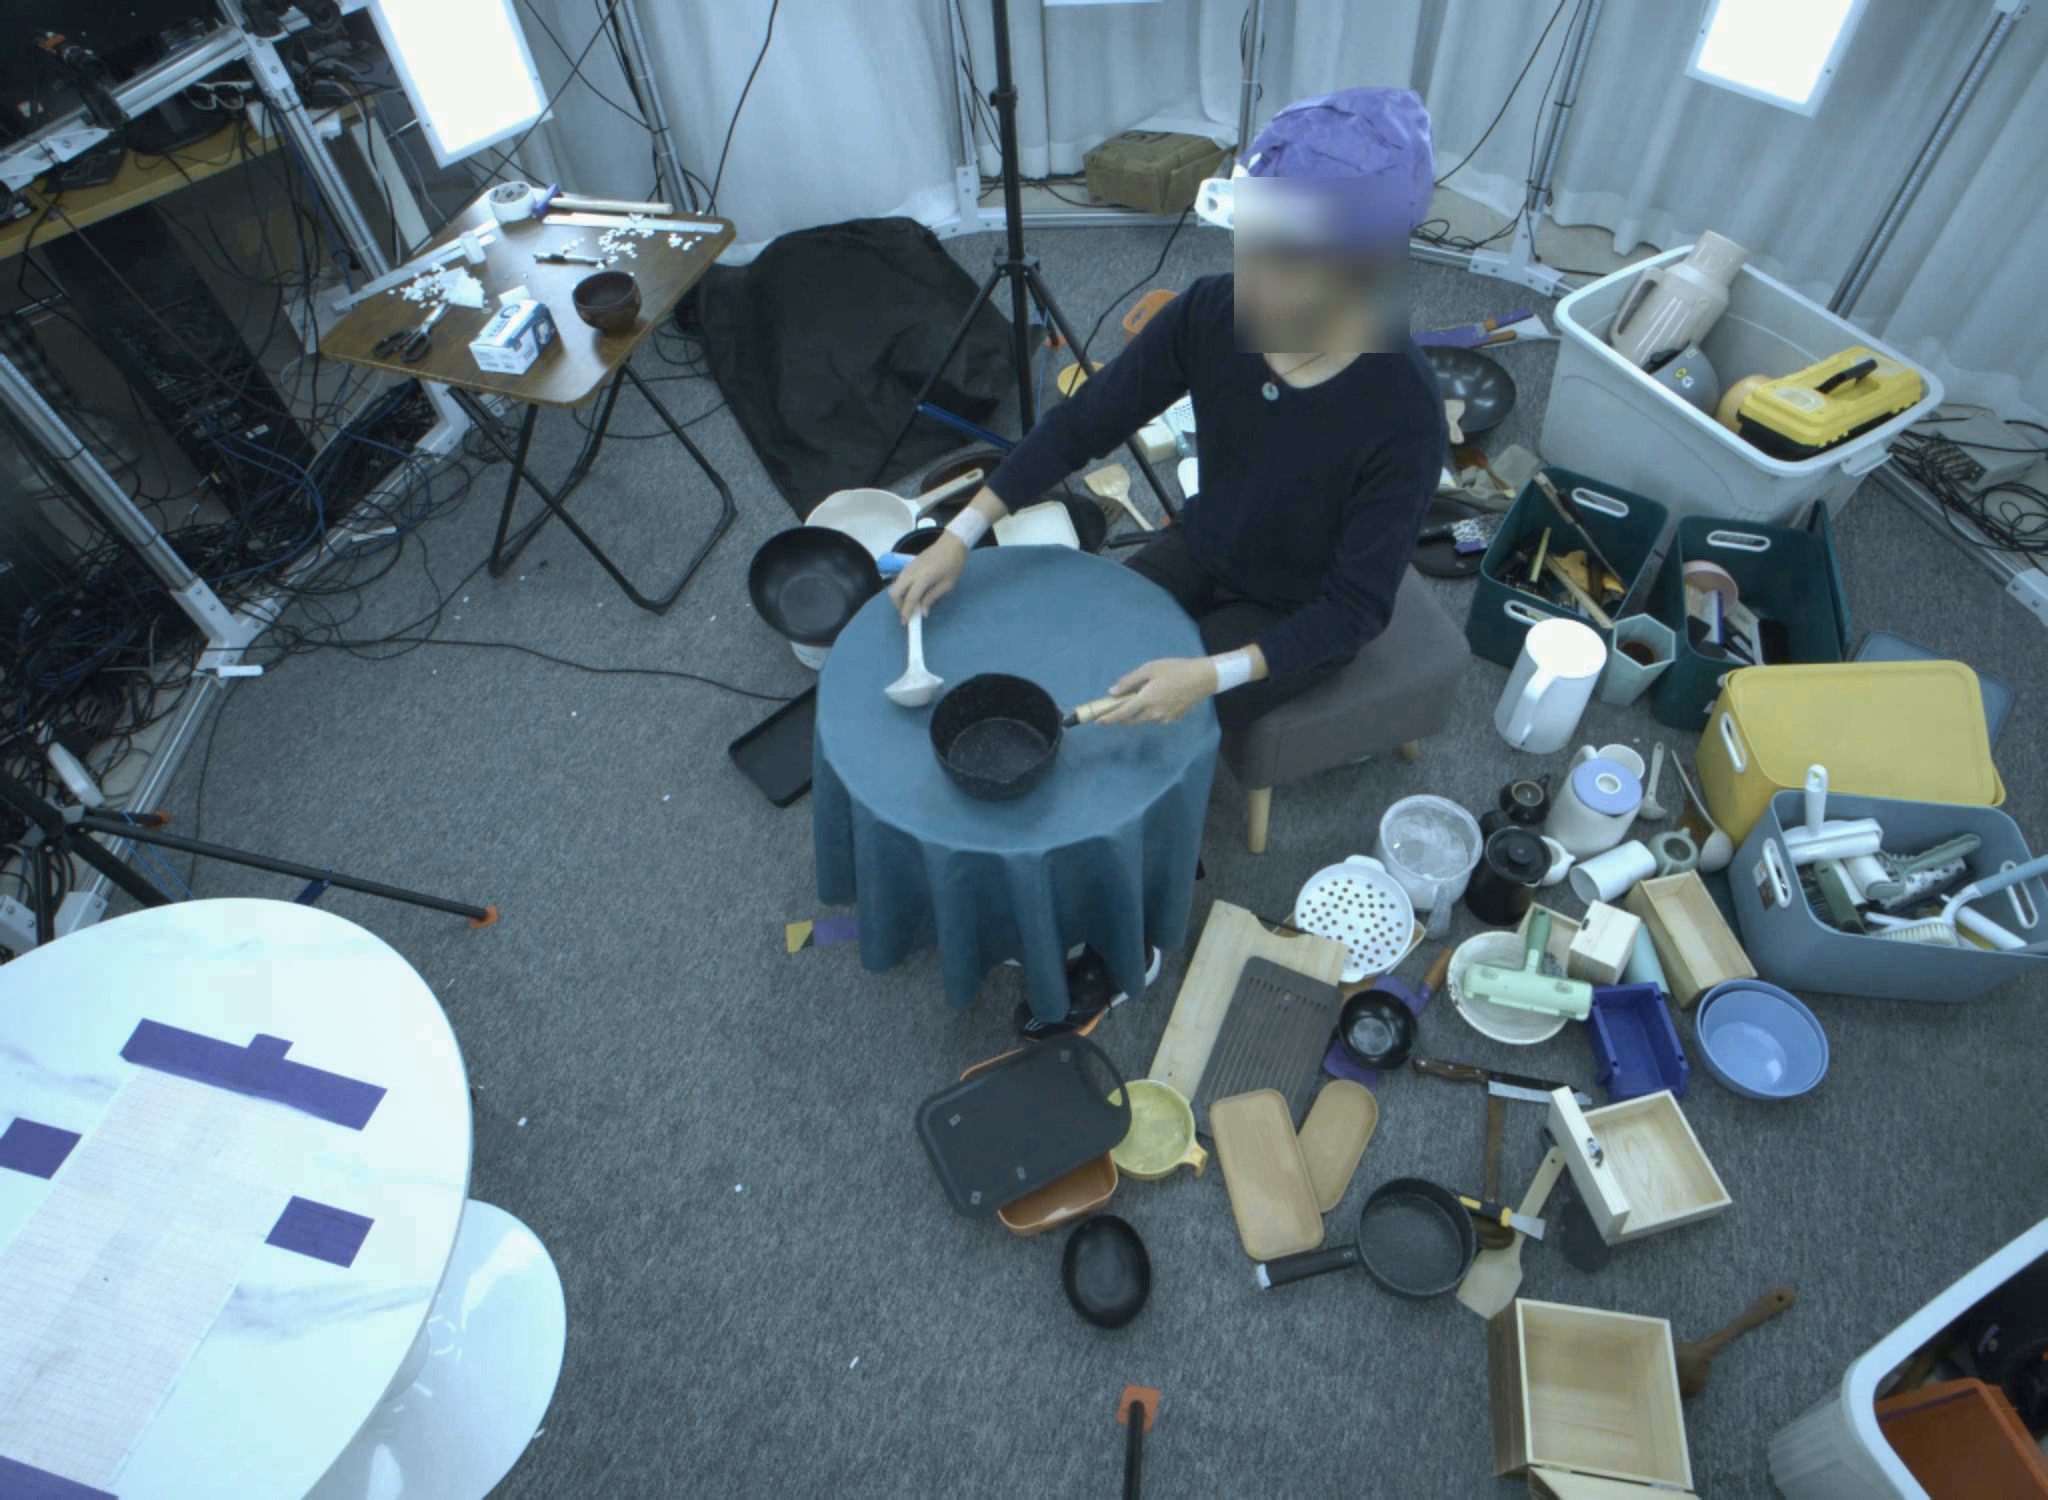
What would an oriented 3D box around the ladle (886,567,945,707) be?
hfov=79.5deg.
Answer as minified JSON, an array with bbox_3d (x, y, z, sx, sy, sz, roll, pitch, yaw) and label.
[{"bbox_3d":[-0.168,-0.188,1.864,0.089,0.070,0.272,-9,61,9],"label":"ladle"}]

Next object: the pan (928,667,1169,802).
[{"bbox_3d":[0.038,-0.034,1.744,0.344,0.109,0.204,-12,54,-6],"label":"pan"}]
